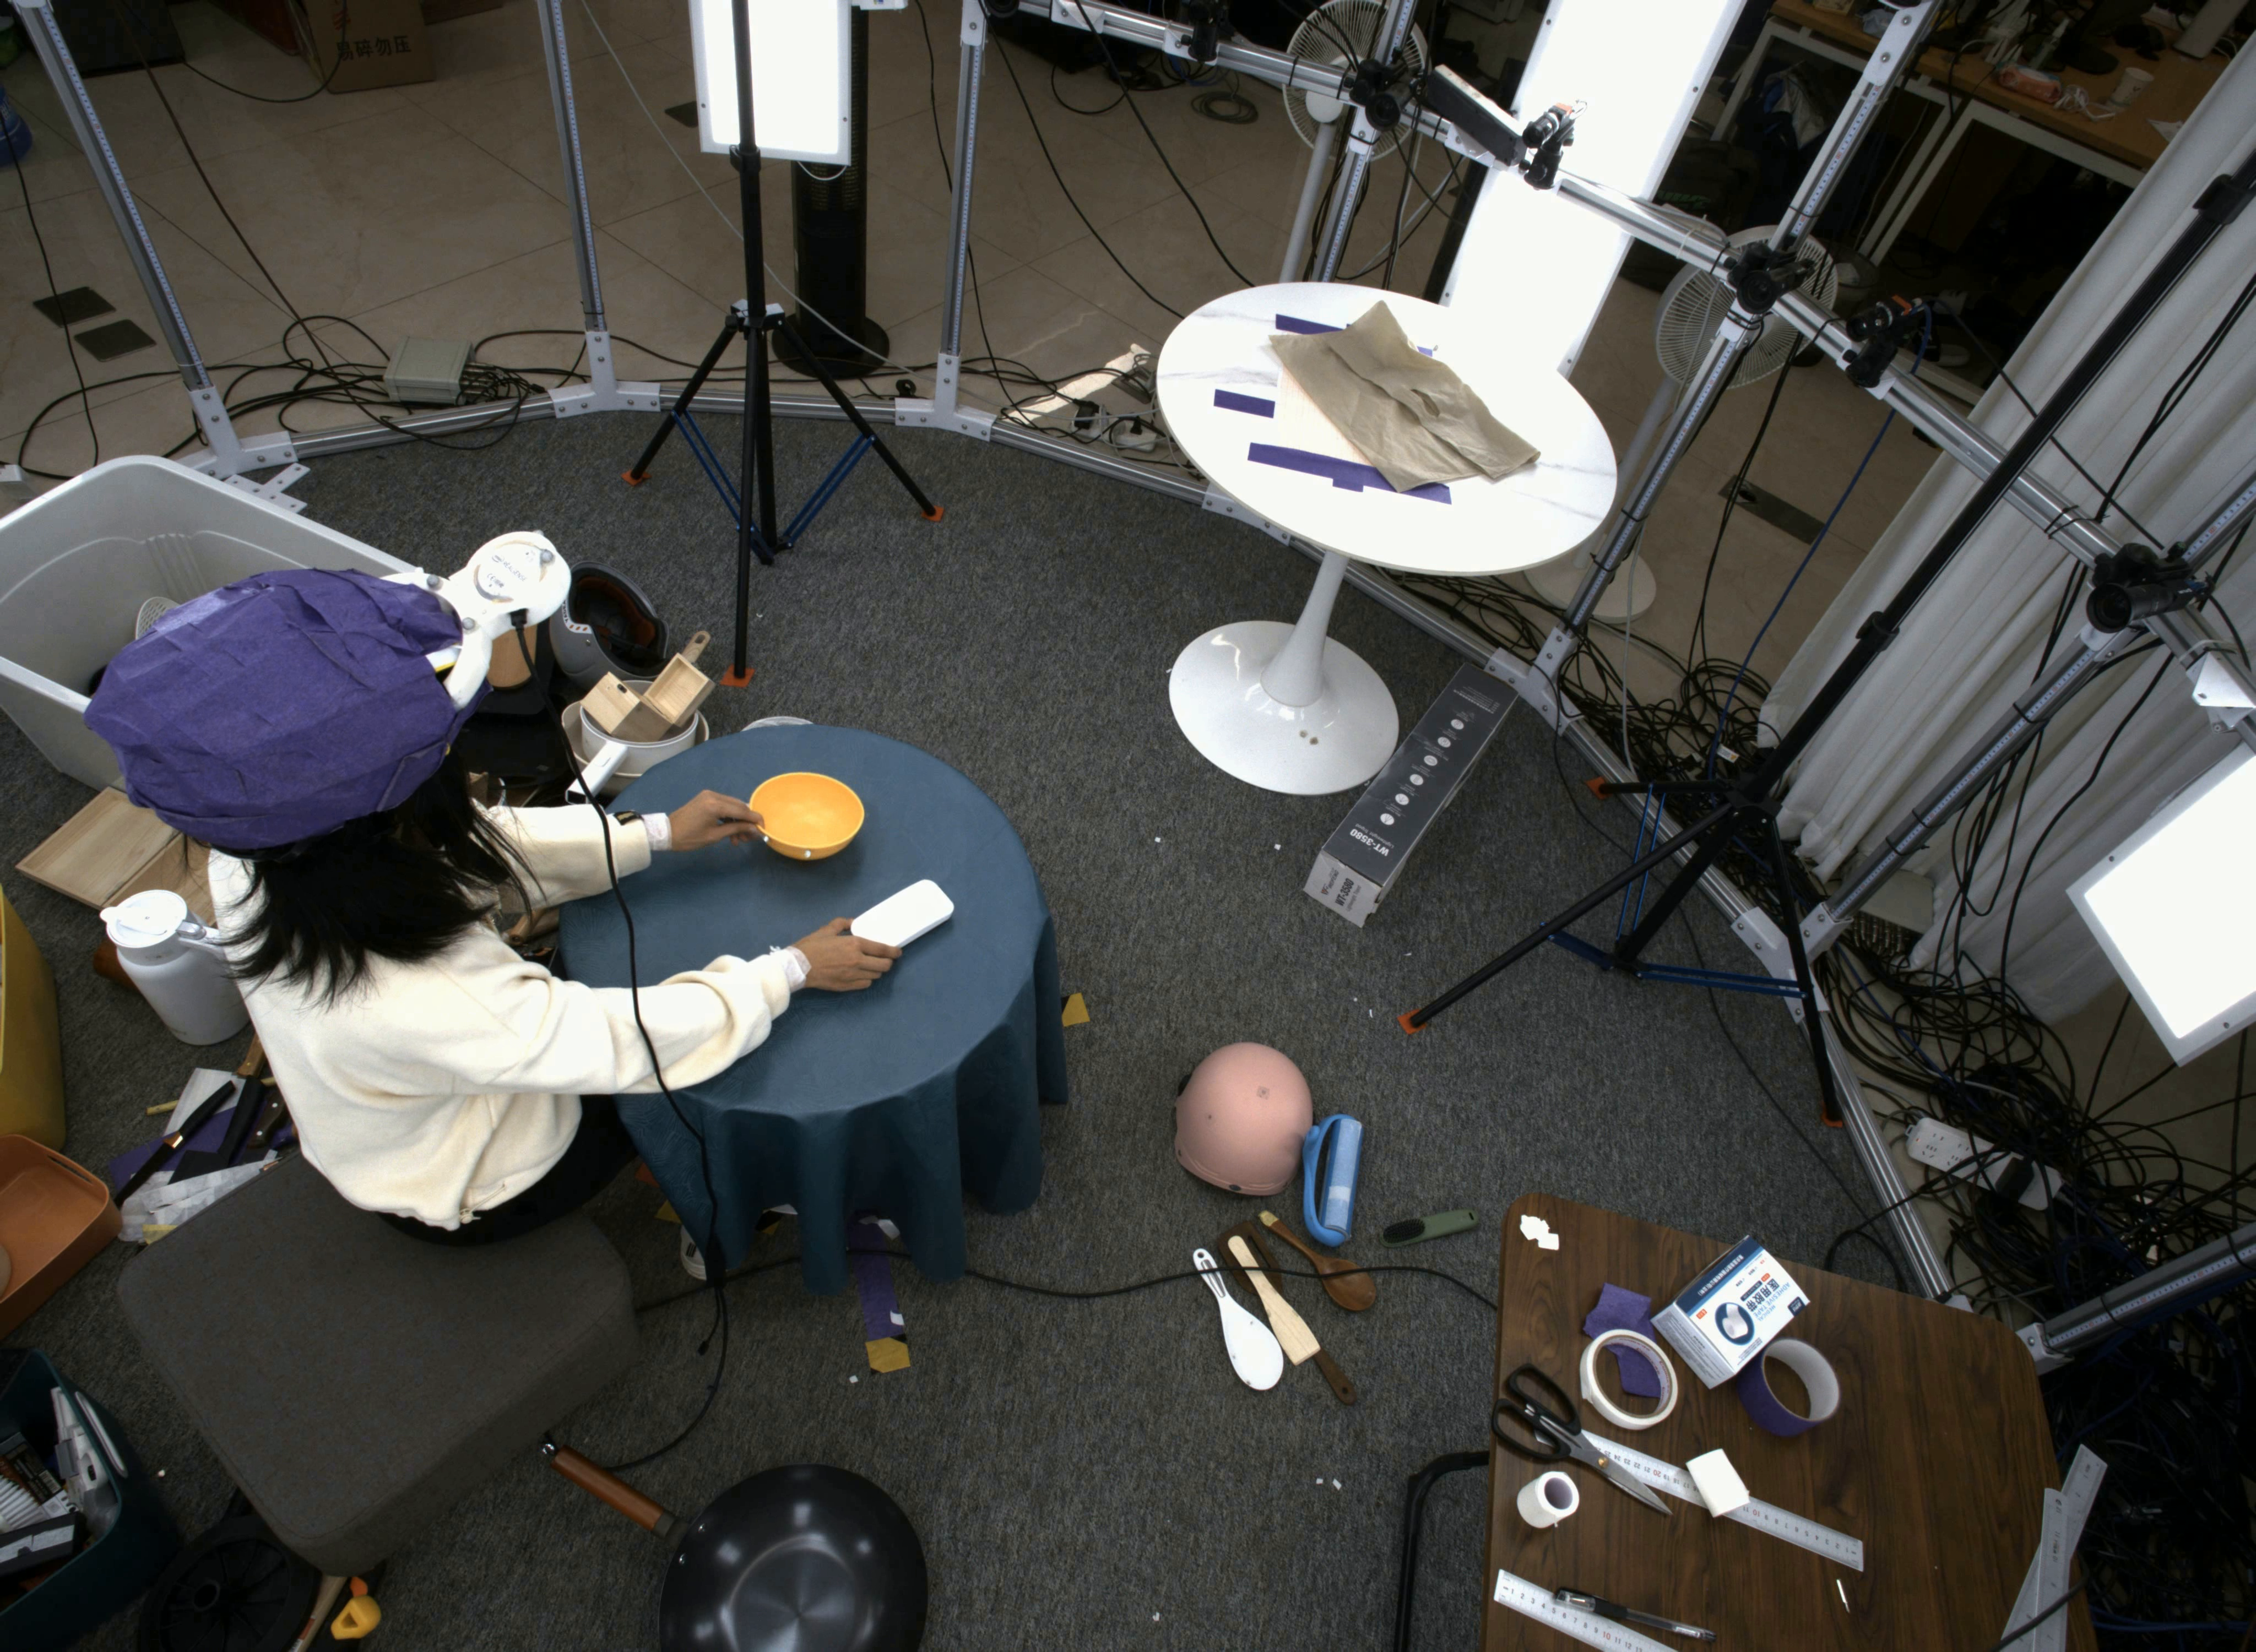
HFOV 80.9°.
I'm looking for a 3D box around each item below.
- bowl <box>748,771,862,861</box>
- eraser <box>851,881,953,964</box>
[{"bbox_3d":[-0.420,-0.002,1.678,0.145,0.061,0.142,13,41,-10],"label":"bowl"},{"bbox_3d":[-0.287,0.117,1.646,0.132,0.035,0.062,-32,68,-33],"label":"eraser"}]
